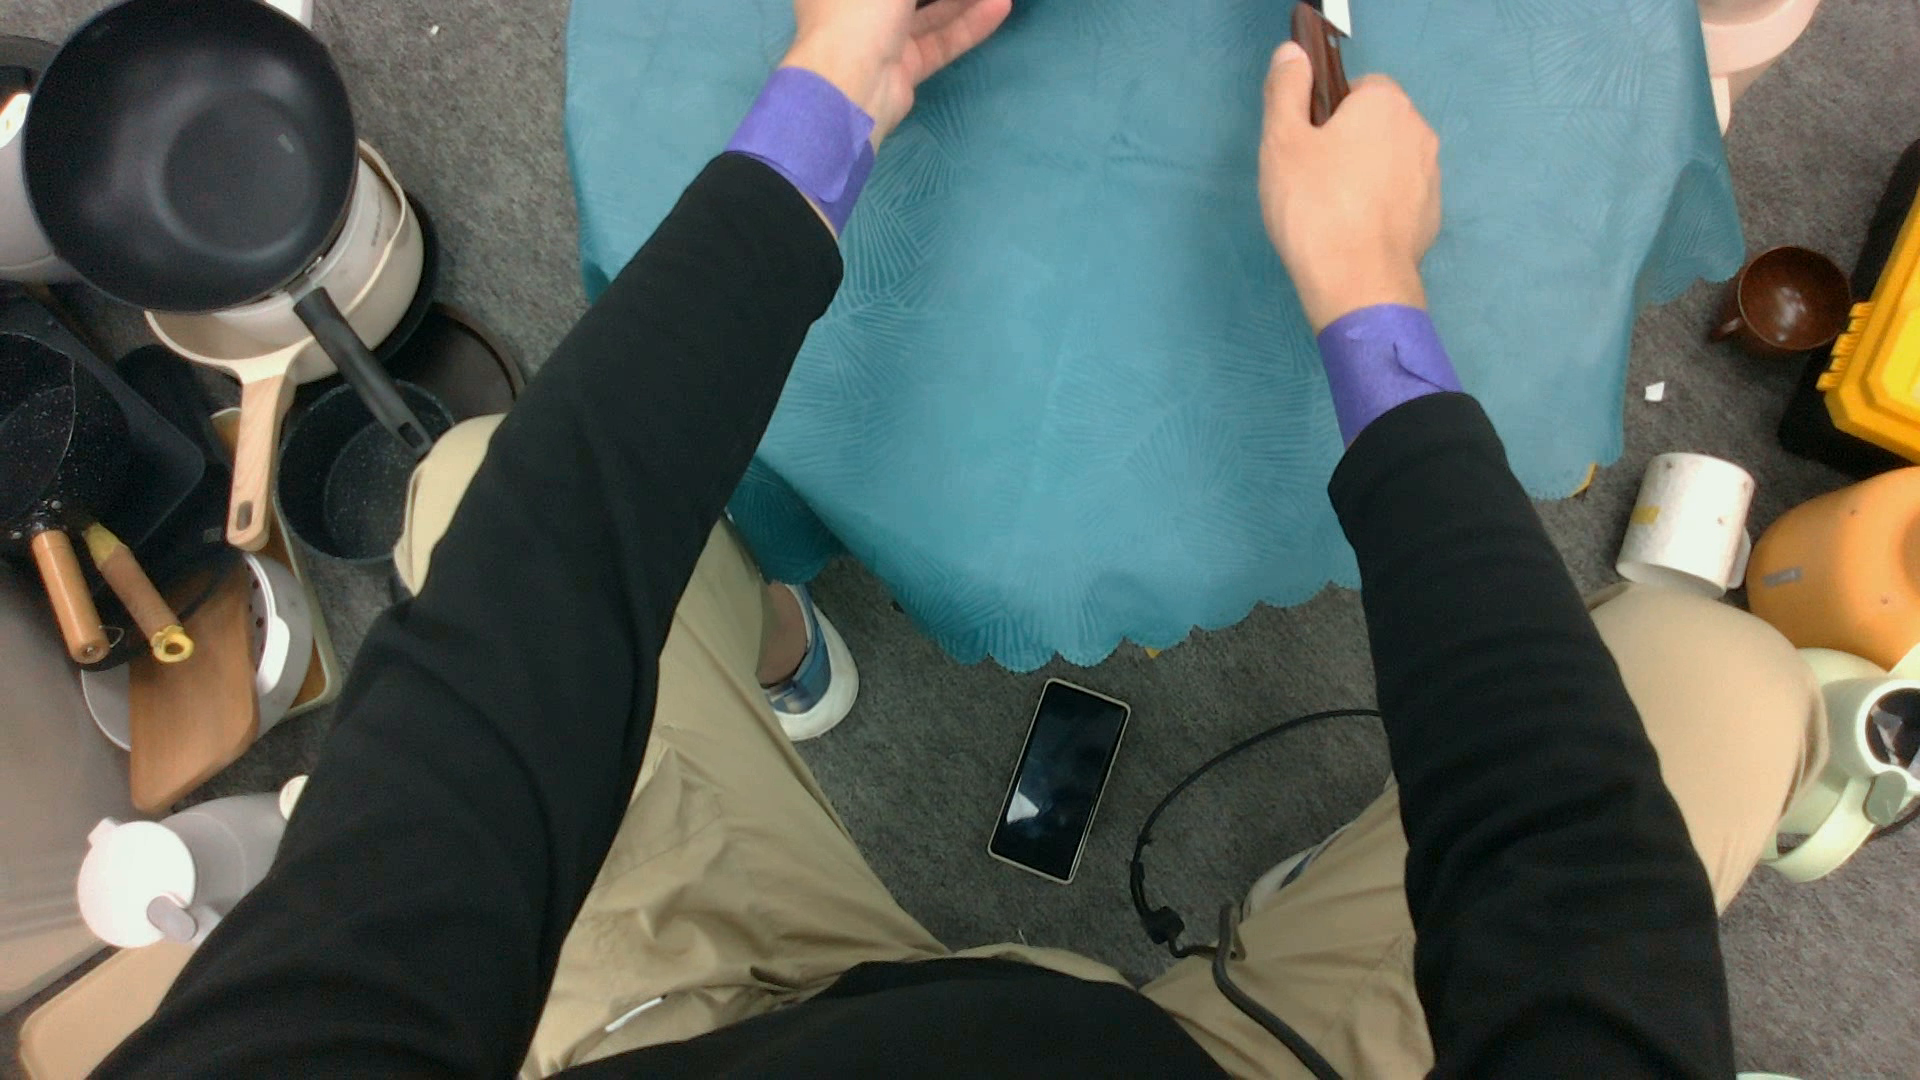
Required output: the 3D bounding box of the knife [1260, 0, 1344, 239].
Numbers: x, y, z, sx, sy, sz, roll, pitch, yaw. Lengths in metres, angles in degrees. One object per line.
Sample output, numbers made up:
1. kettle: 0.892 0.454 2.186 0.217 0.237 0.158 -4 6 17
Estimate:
1. knife: 0.163 -0.285 0.685 0.020 0.050 0.289 -15 74 46
